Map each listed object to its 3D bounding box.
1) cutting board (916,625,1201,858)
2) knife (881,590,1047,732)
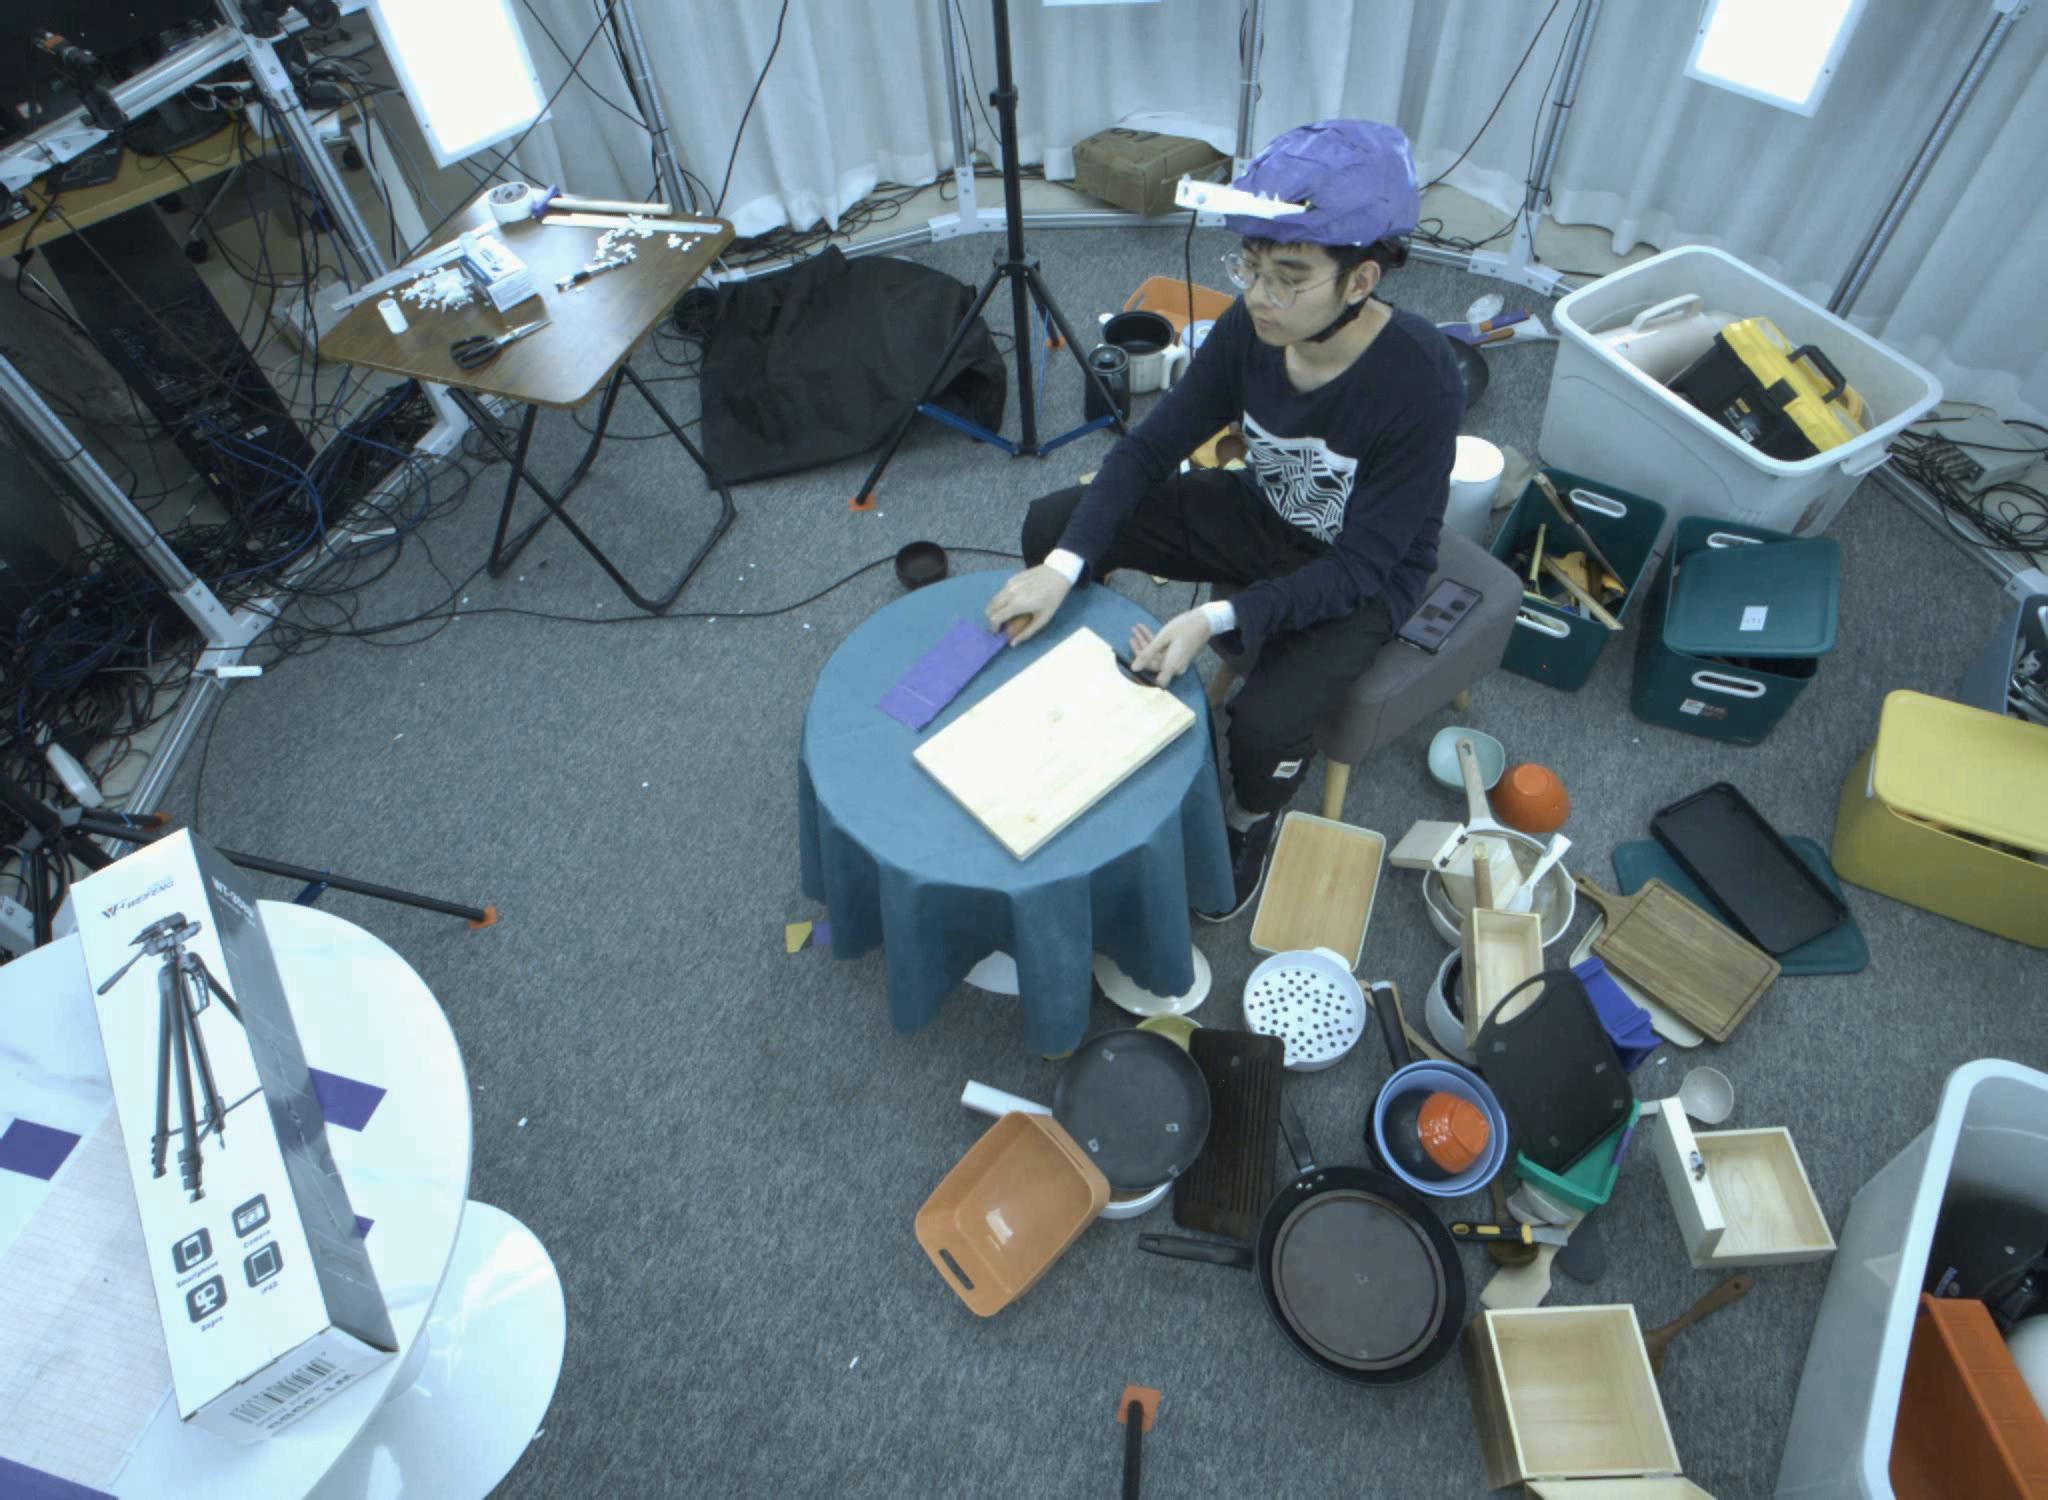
[{"bbox_3d":[0.048,-0.023,1.792,0.351,0.024,0.246,-38,62,-21],"label":"cutting board"},{"bbox_3d":[-0.094,-0.154,1.889,0.102,0.032,0.317,32,62,22],"label":"knife"}]
